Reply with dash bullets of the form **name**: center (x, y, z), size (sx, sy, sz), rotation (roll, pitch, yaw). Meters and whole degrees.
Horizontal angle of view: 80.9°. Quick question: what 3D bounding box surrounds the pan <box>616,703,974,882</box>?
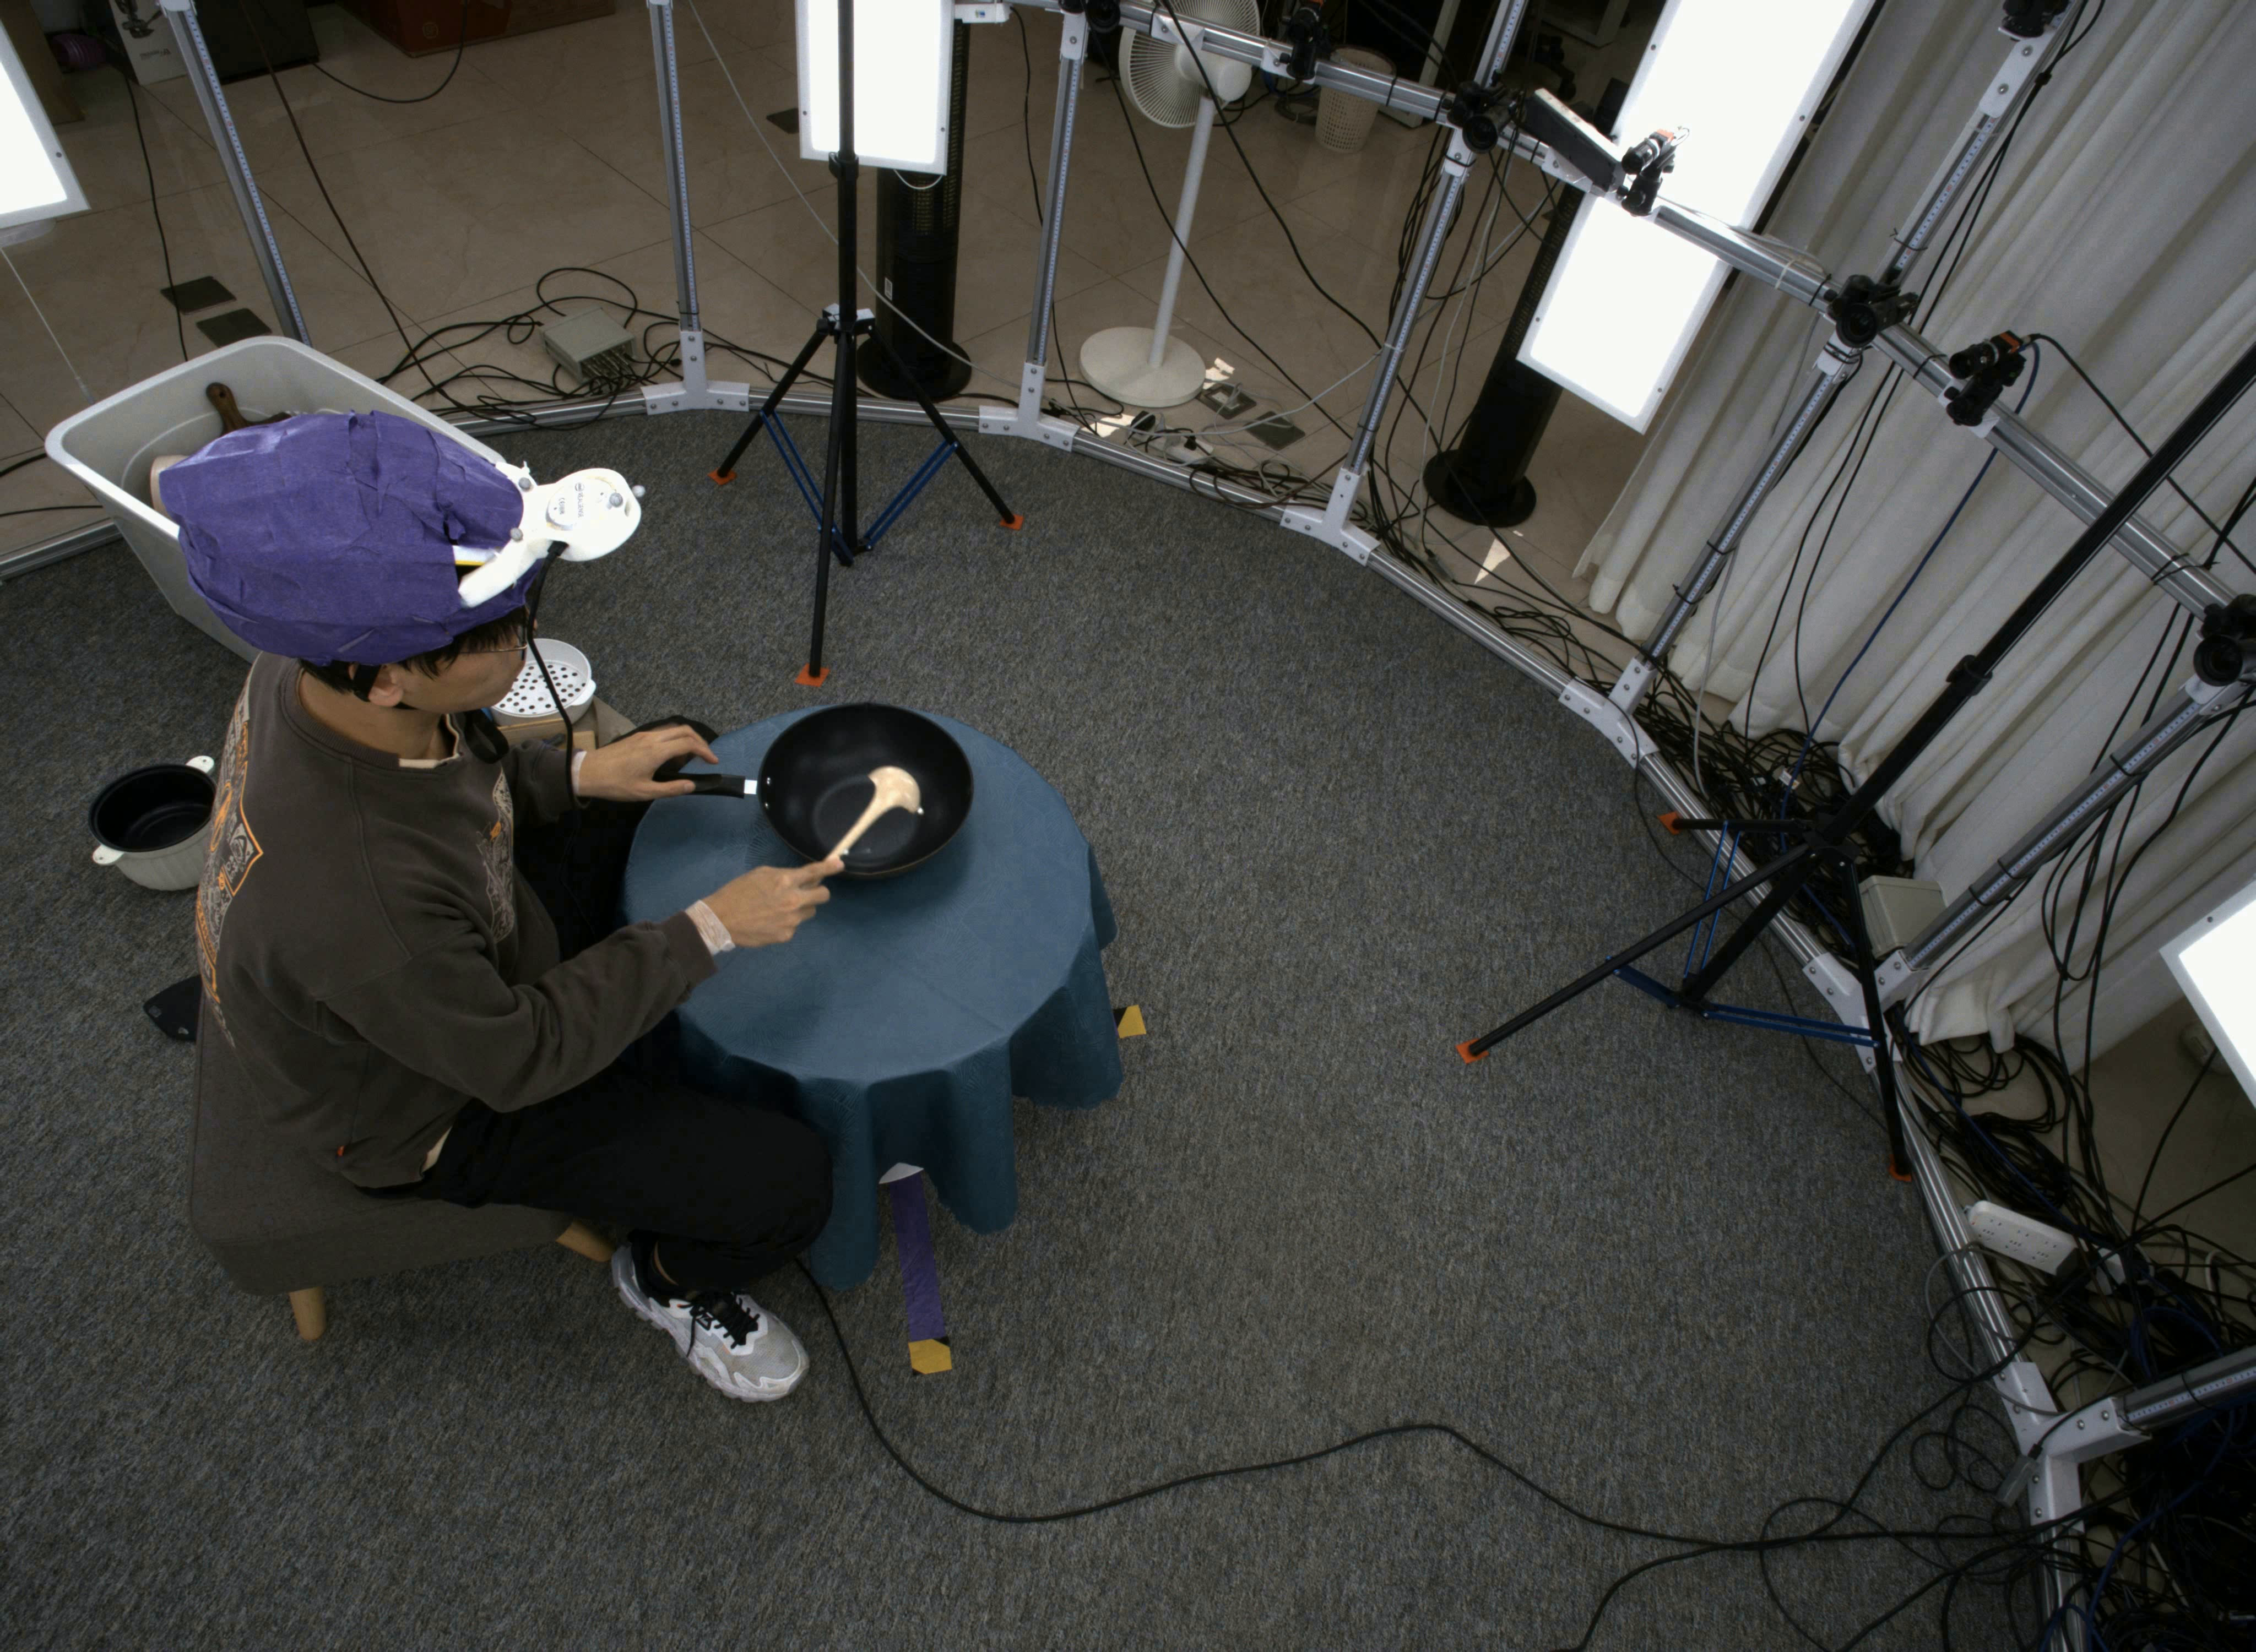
- **pan**: center (-0.434, -0.031, 1.707), size (0.463, 0.089, 0.282), rotation (0, 54, -12)

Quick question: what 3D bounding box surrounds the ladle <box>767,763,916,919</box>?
- **ladle**: center (-0.352, 0.025, 1.572), size (0.072, 0.072, 0.254), rotation (40, 64, -4)
